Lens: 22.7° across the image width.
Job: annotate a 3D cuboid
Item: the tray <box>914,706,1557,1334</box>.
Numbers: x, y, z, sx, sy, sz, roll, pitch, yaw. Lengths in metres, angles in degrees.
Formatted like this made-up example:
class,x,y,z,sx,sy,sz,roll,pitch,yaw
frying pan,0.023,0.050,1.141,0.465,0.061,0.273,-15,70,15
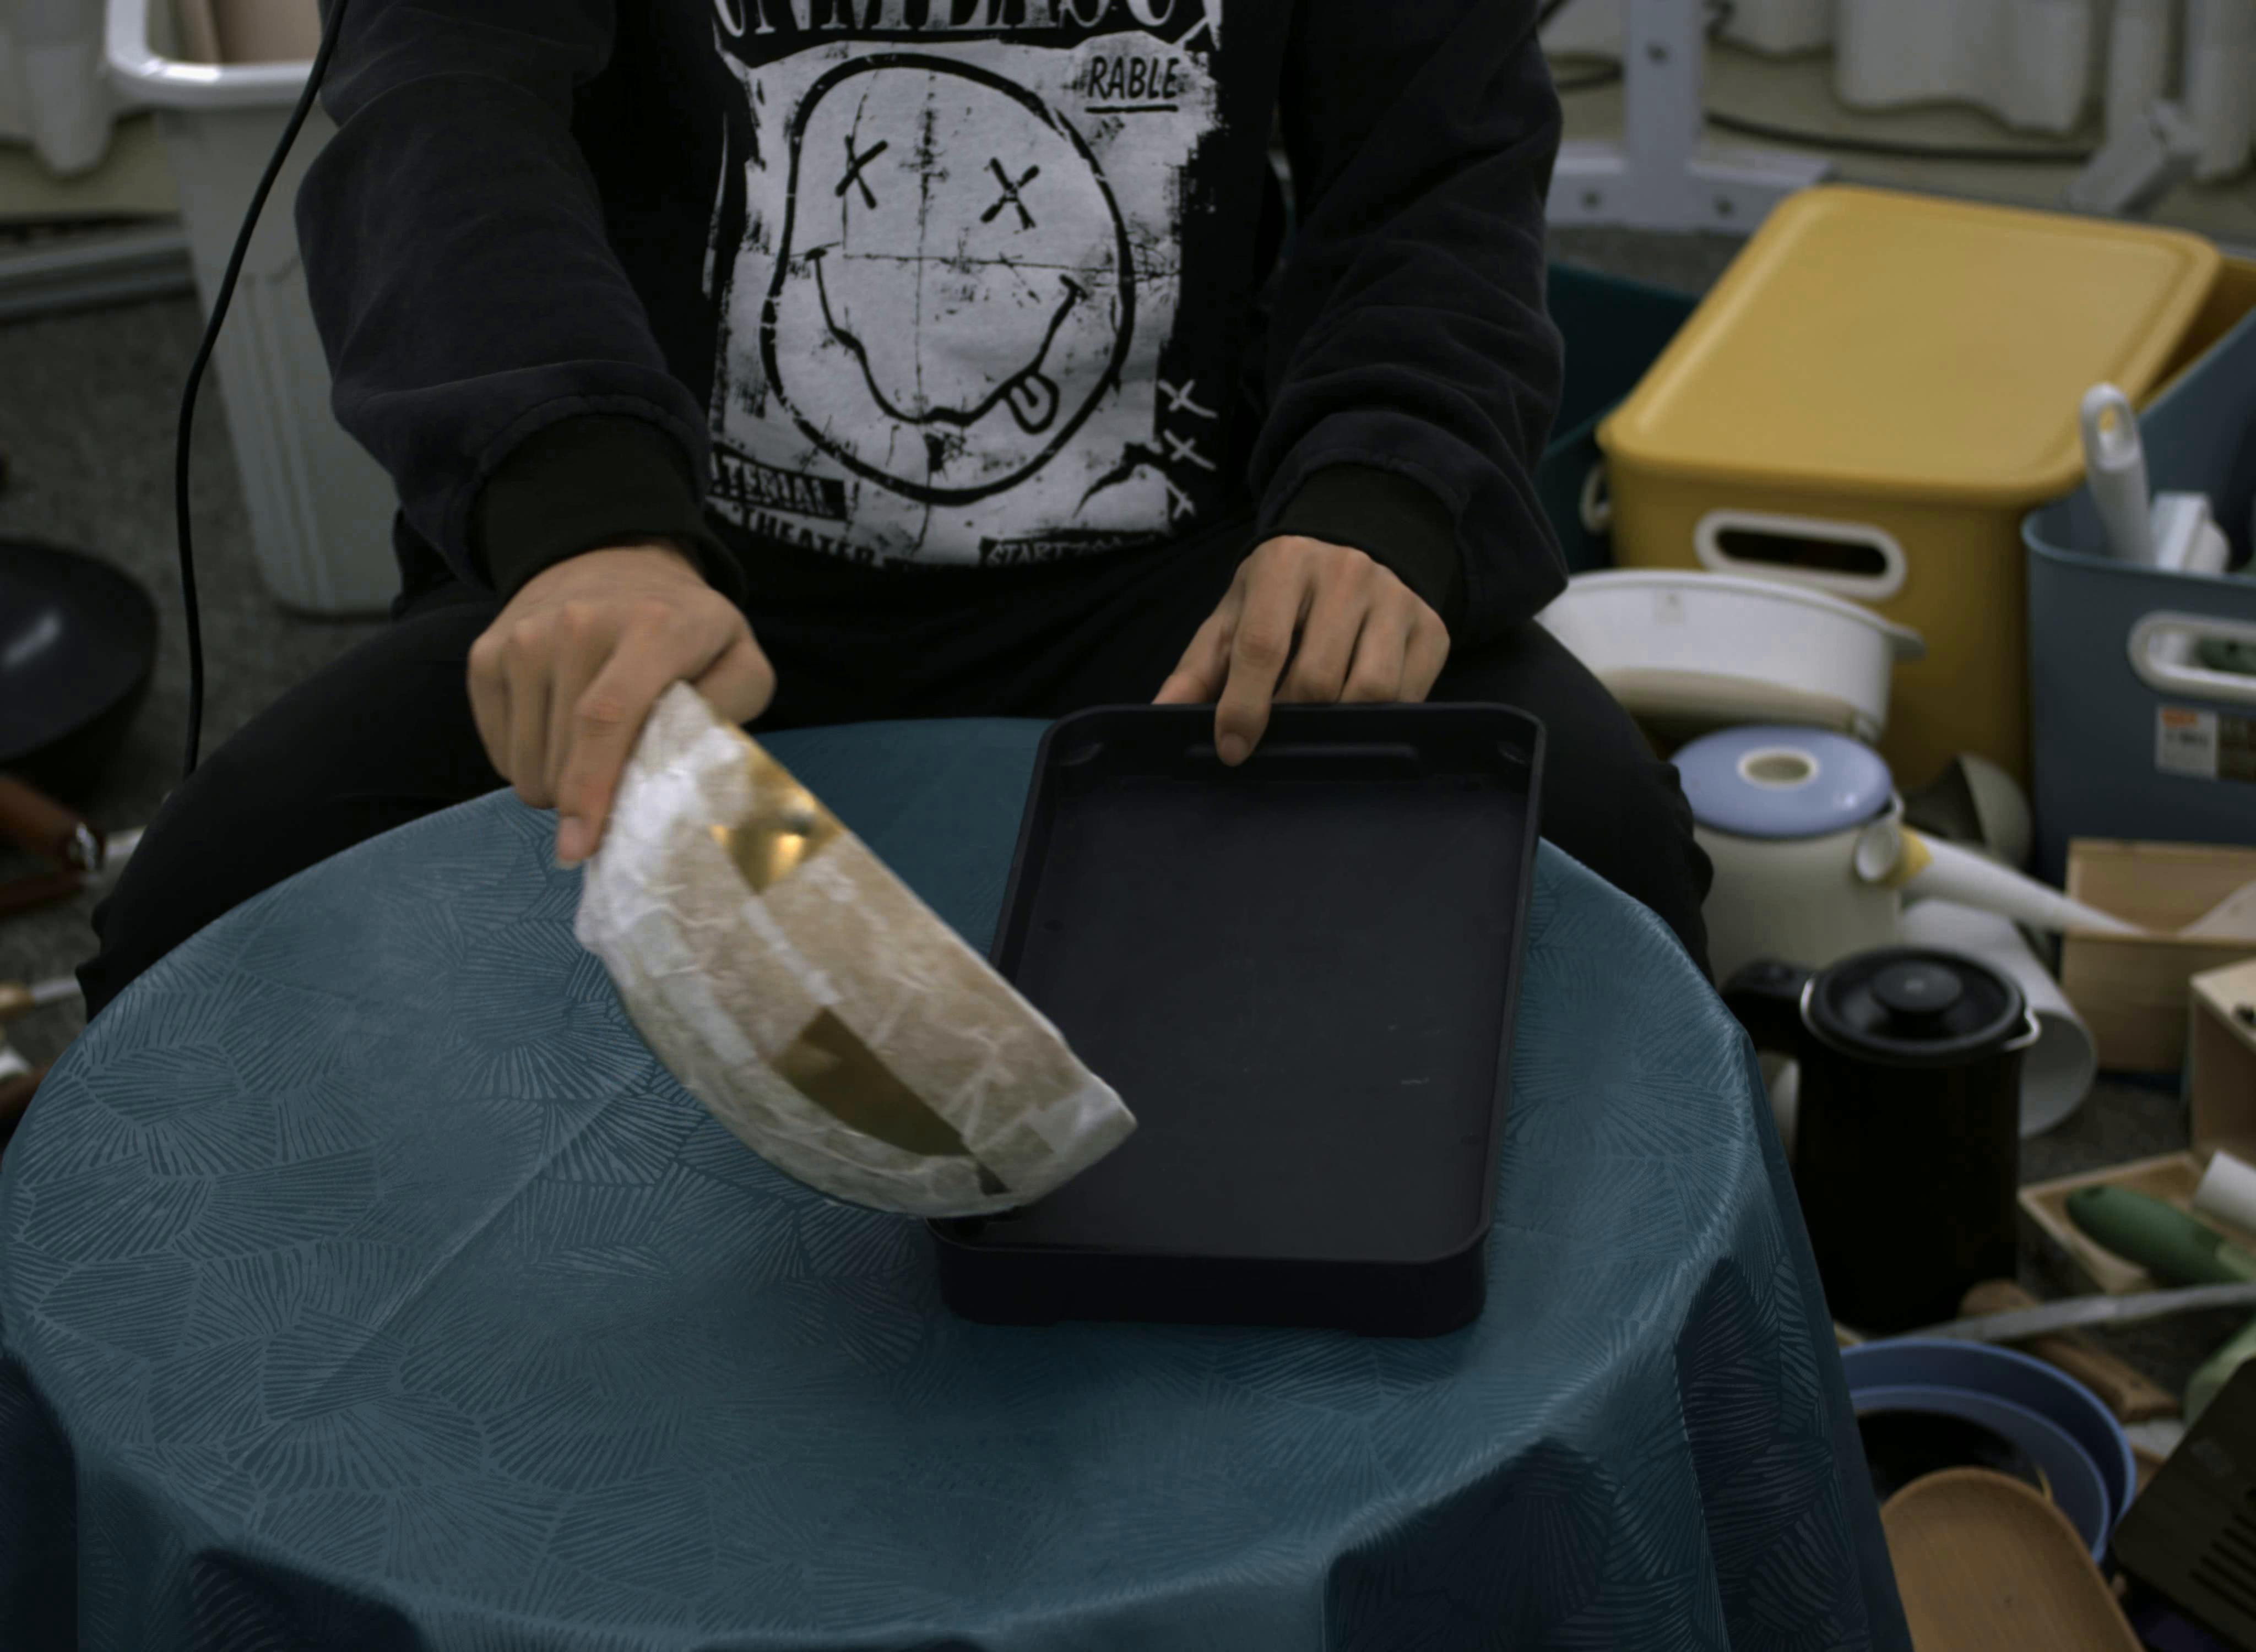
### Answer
class,x,y,z,sx,sy,sz,roll,pitch,yaw
tray,0.043,0.059,1.902,0.183,0.036,0.324,0,33,10

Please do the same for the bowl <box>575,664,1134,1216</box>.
class,x,y,z,sx,sy,sz,roll,pitch,yaw
bowl,-0.102,0.053,1.753,0.095,0.213,0.216,-47,37,-2
